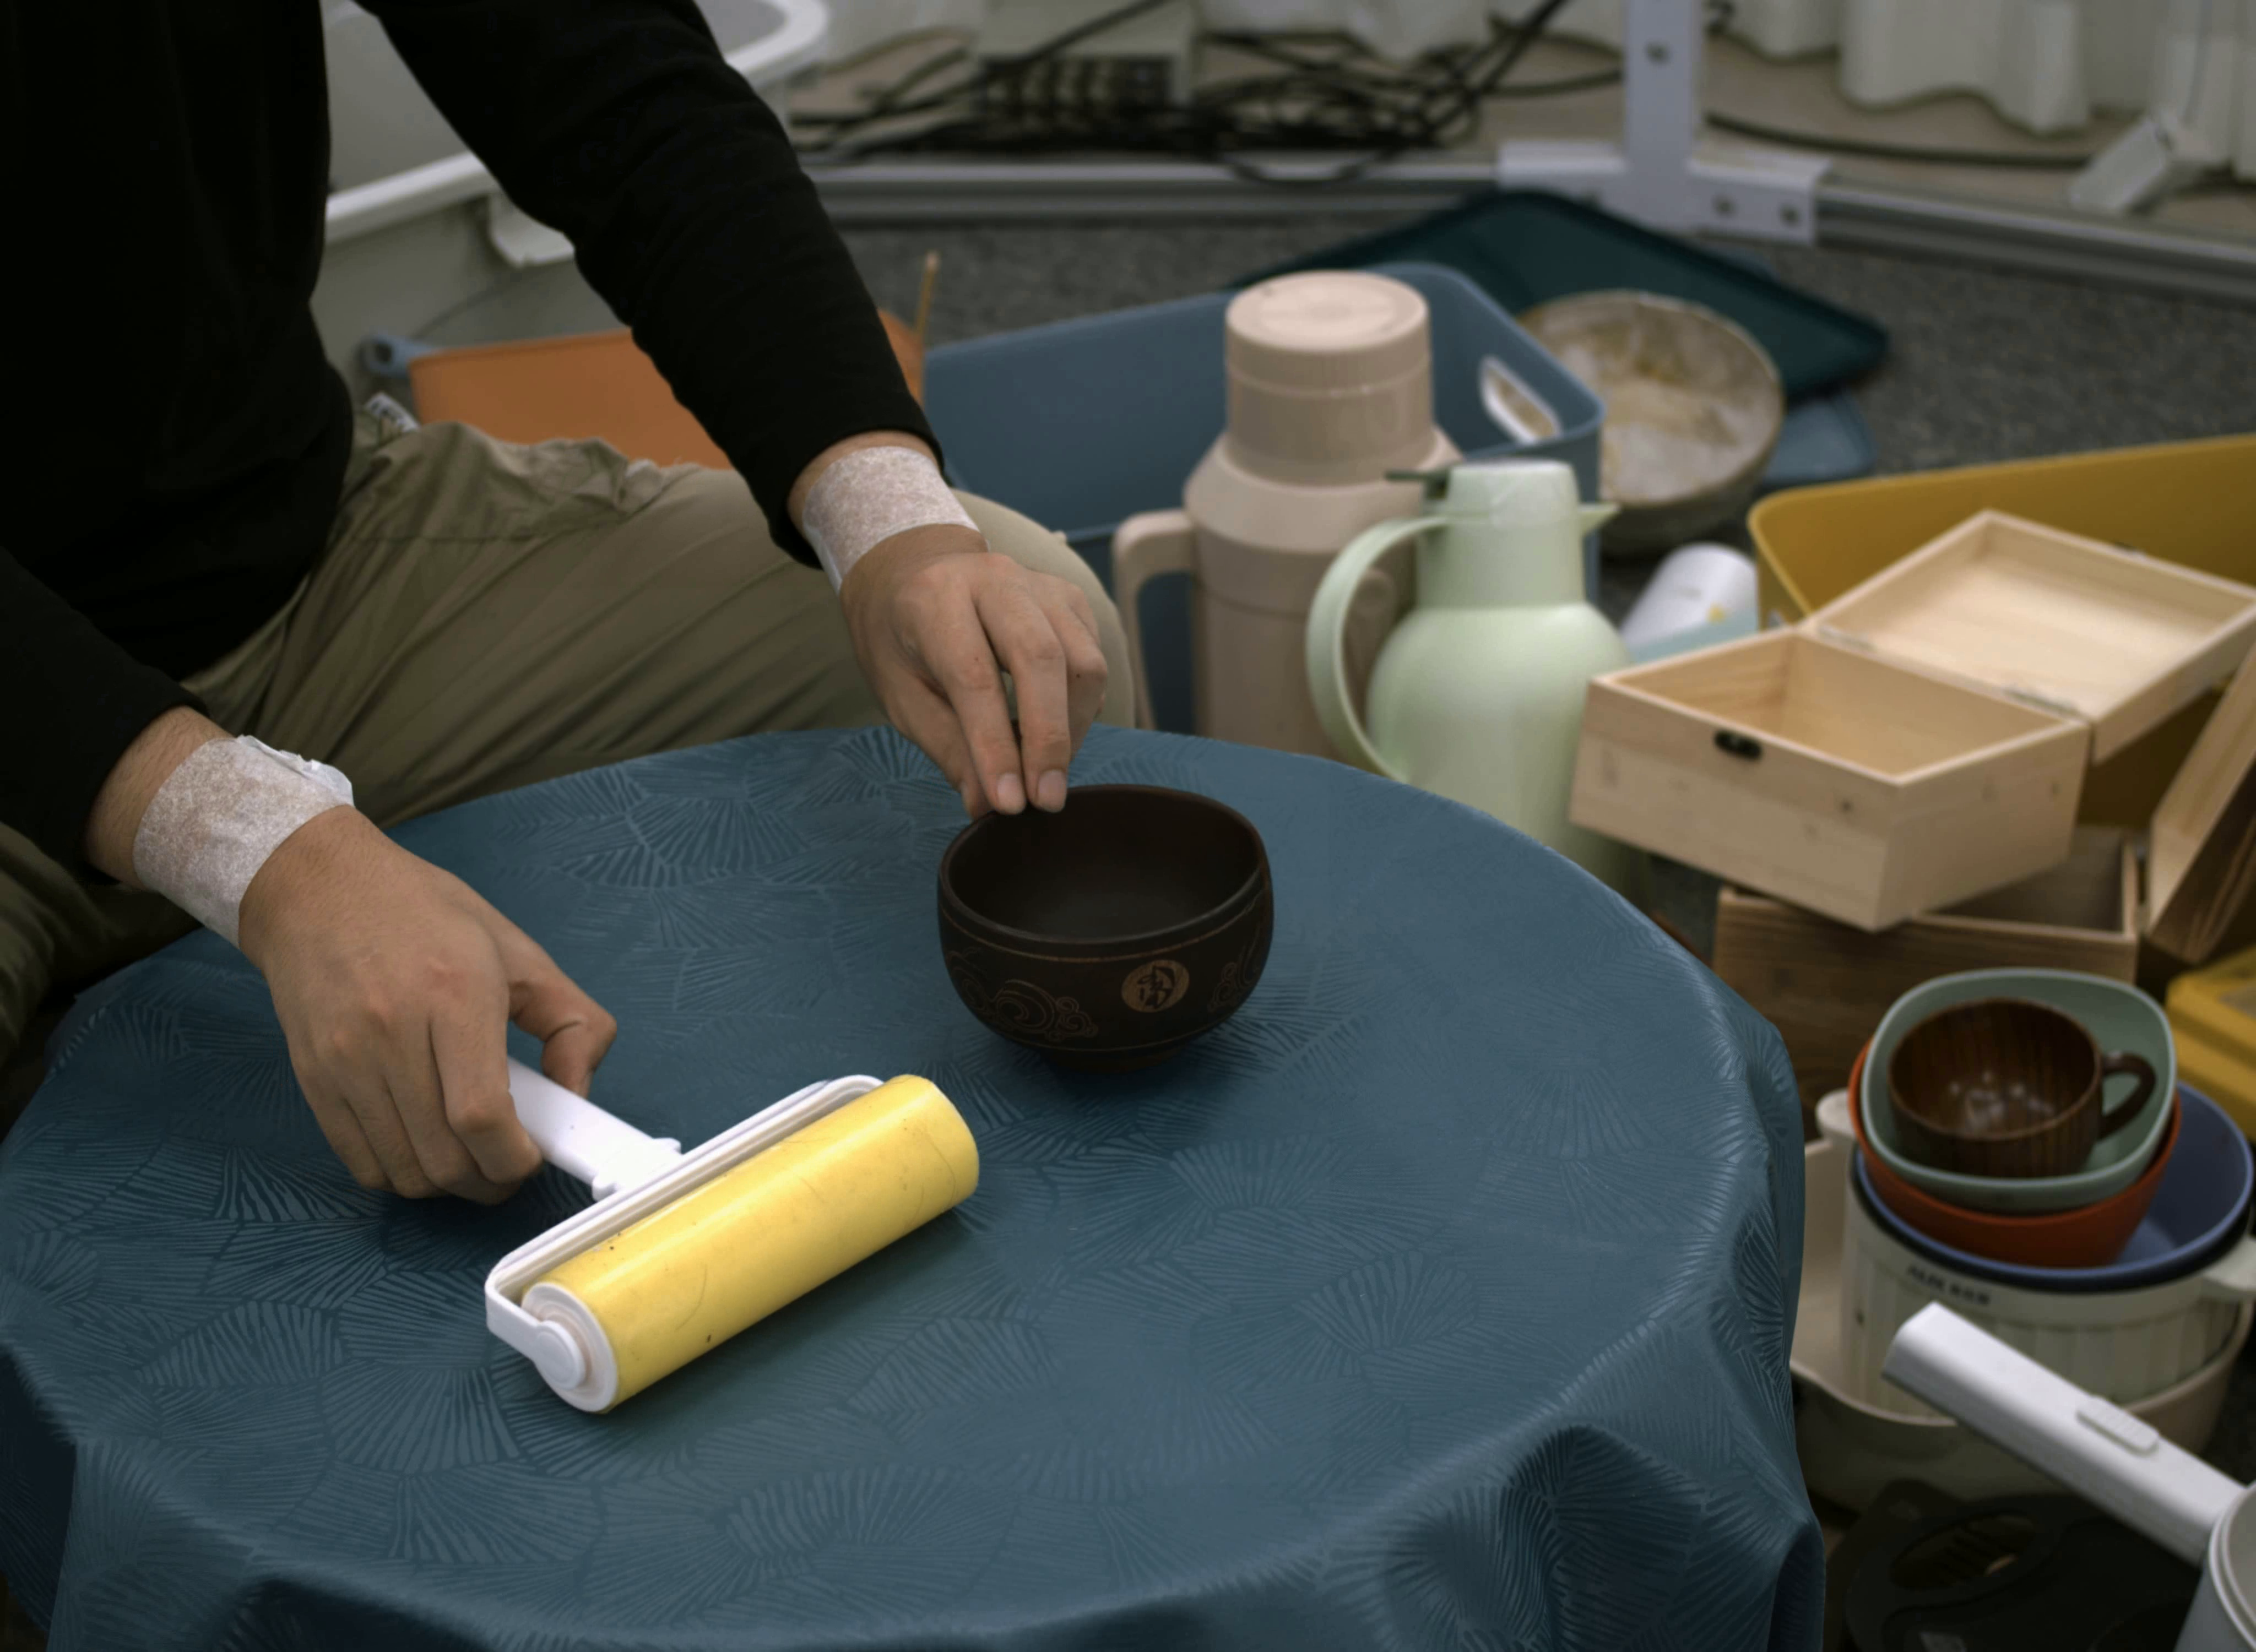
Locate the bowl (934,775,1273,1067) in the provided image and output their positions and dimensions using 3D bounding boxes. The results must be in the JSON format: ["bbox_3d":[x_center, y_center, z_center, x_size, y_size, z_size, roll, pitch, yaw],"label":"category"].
[{"bbox_3d":[-0.008,0.039,1.940,0.117,0.069,0.120,-1,27,1],"label":"bowl"}]

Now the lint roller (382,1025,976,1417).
[{"bbox_3d":[-0.173,0.102,1.836,0.192,0.050,0.176,33,42,28],"label":"lint roller"}]
